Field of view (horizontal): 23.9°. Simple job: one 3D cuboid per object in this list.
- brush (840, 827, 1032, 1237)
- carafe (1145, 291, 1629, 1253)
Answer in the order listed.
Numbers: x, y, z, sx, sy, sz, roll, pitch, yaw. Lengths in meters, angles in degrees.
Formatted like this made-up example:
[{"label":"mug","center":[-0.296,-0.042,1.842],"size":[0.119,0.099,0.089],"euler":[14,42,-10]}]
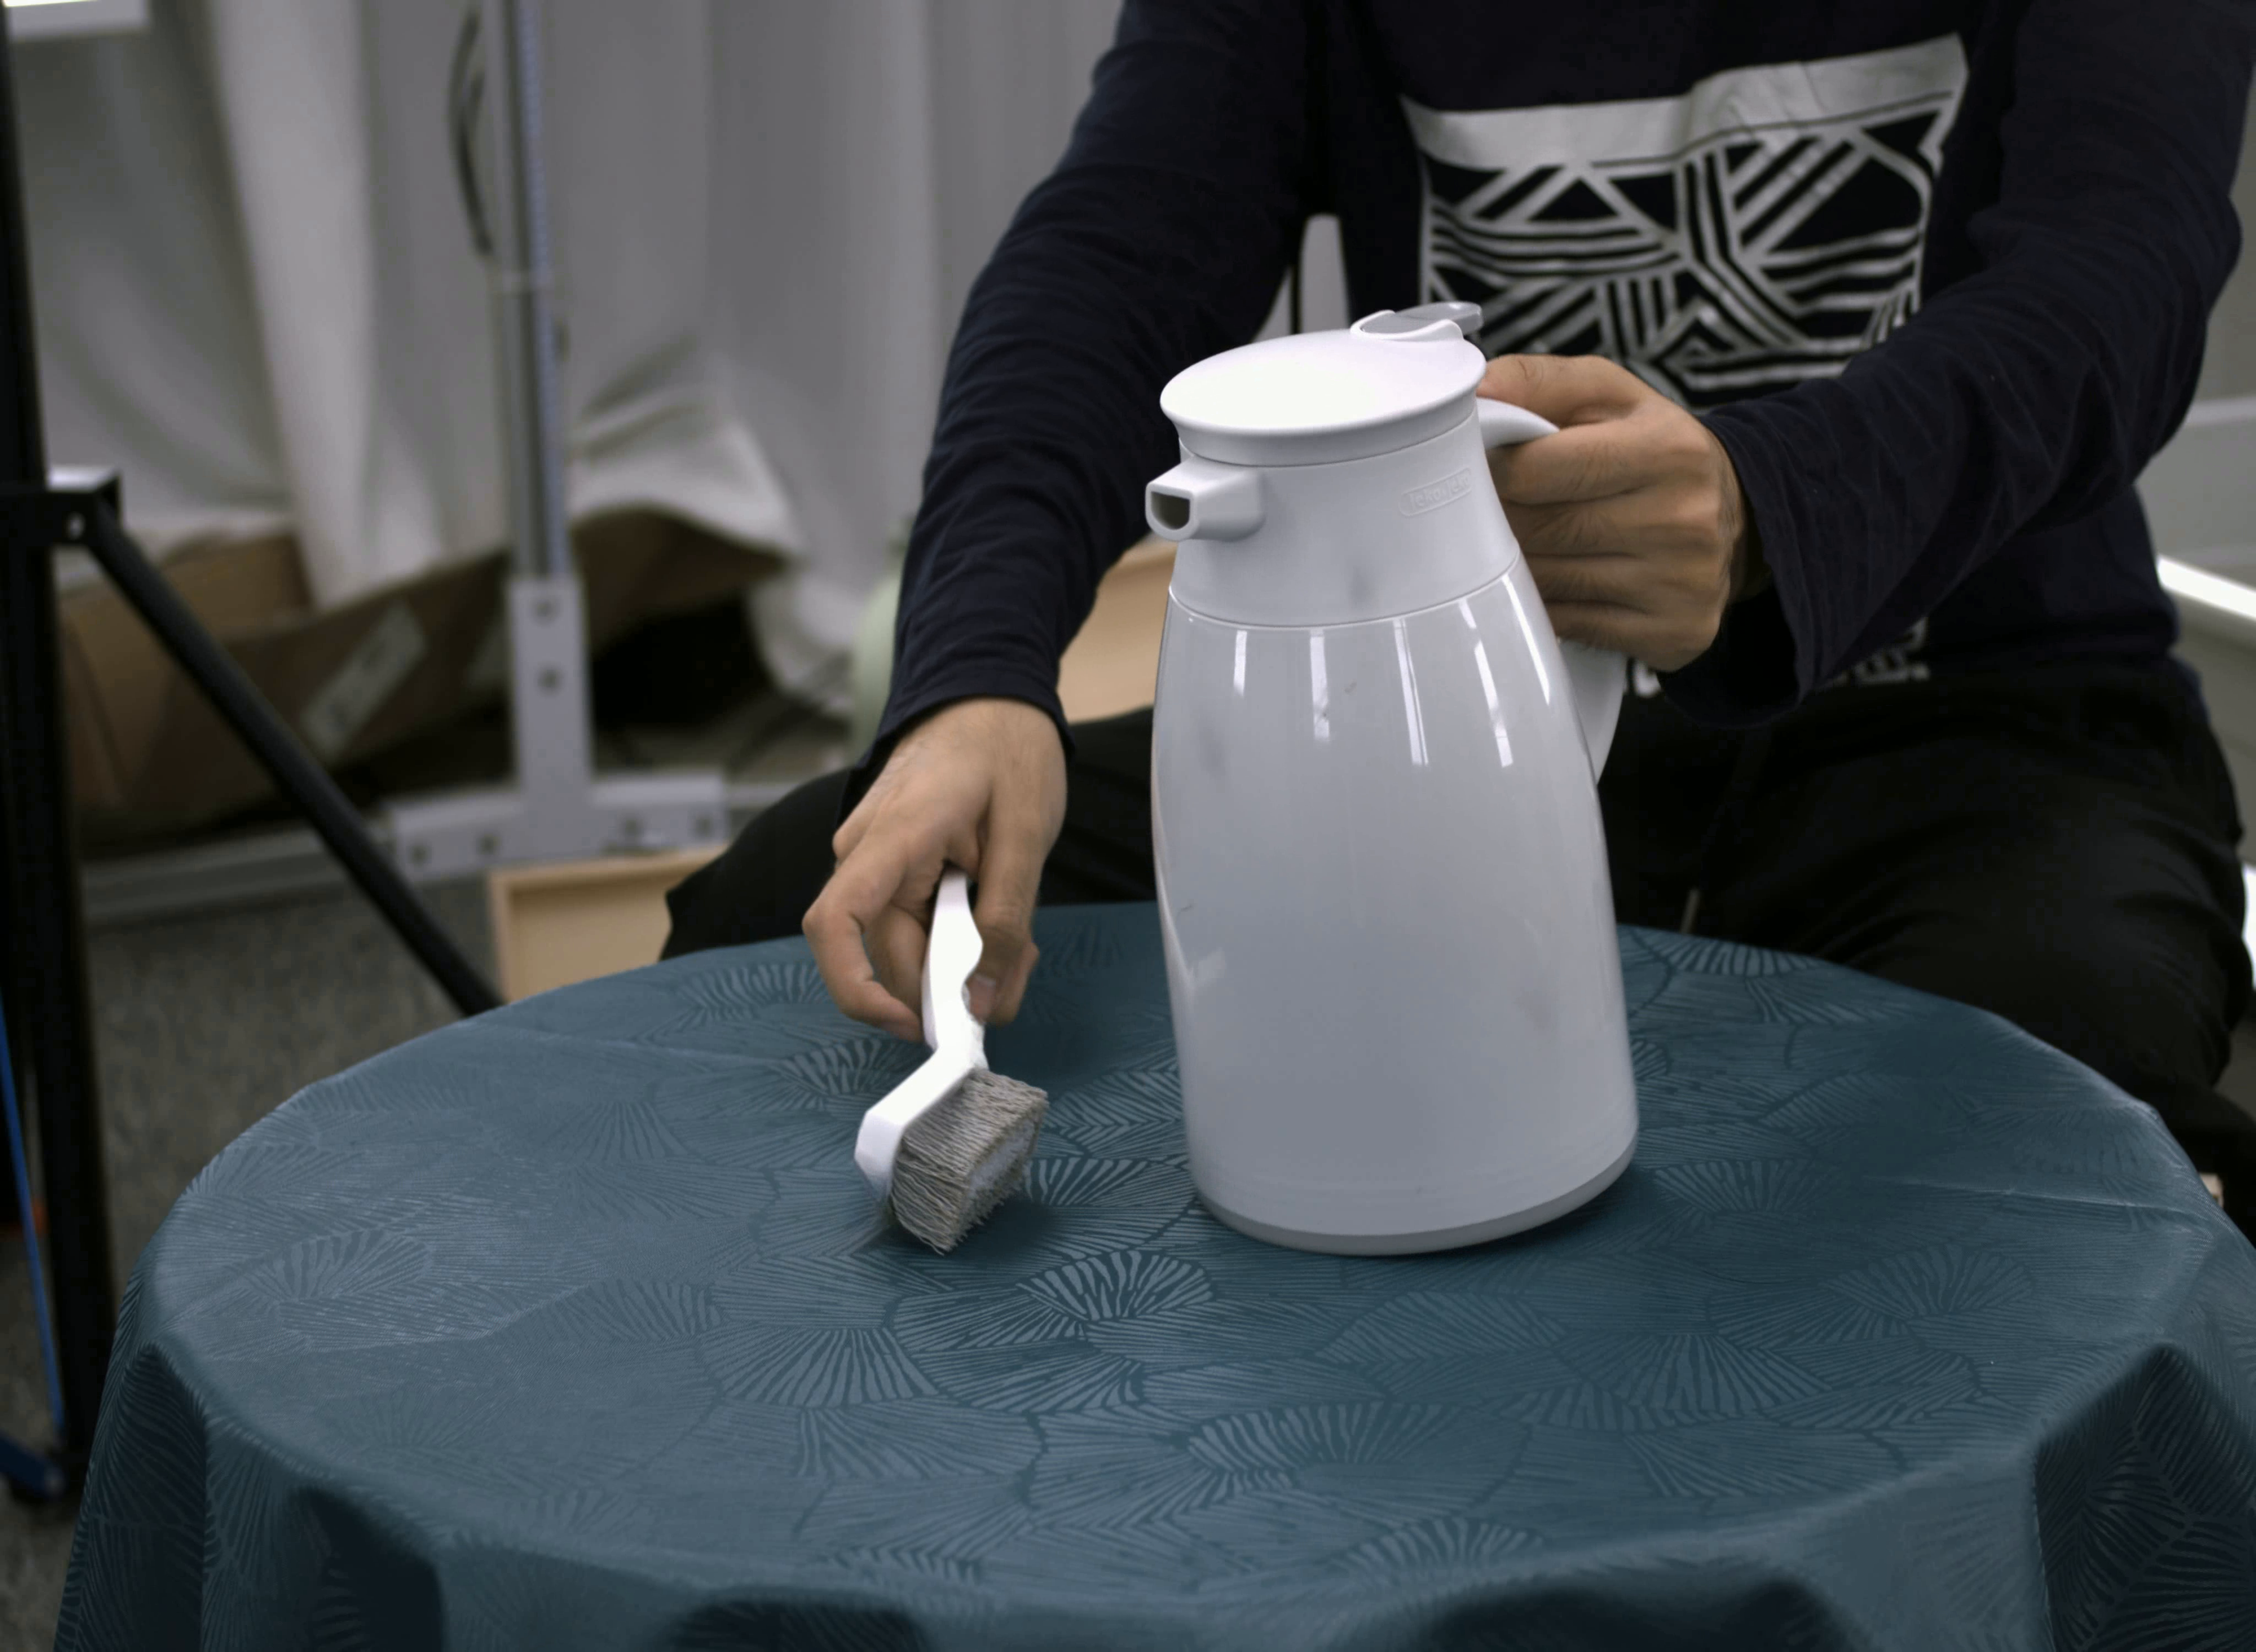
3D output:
[{"label":"brush","center":[-0.049,0.058,1.618],"size":[0.050,0.034,0.244],"euler":[12,22,0]},{"label":"carafe","center":[0.080,-0.024,1.525],"size":[0.164,0.248,0.135],"euler":[-24,25,-39]}]
